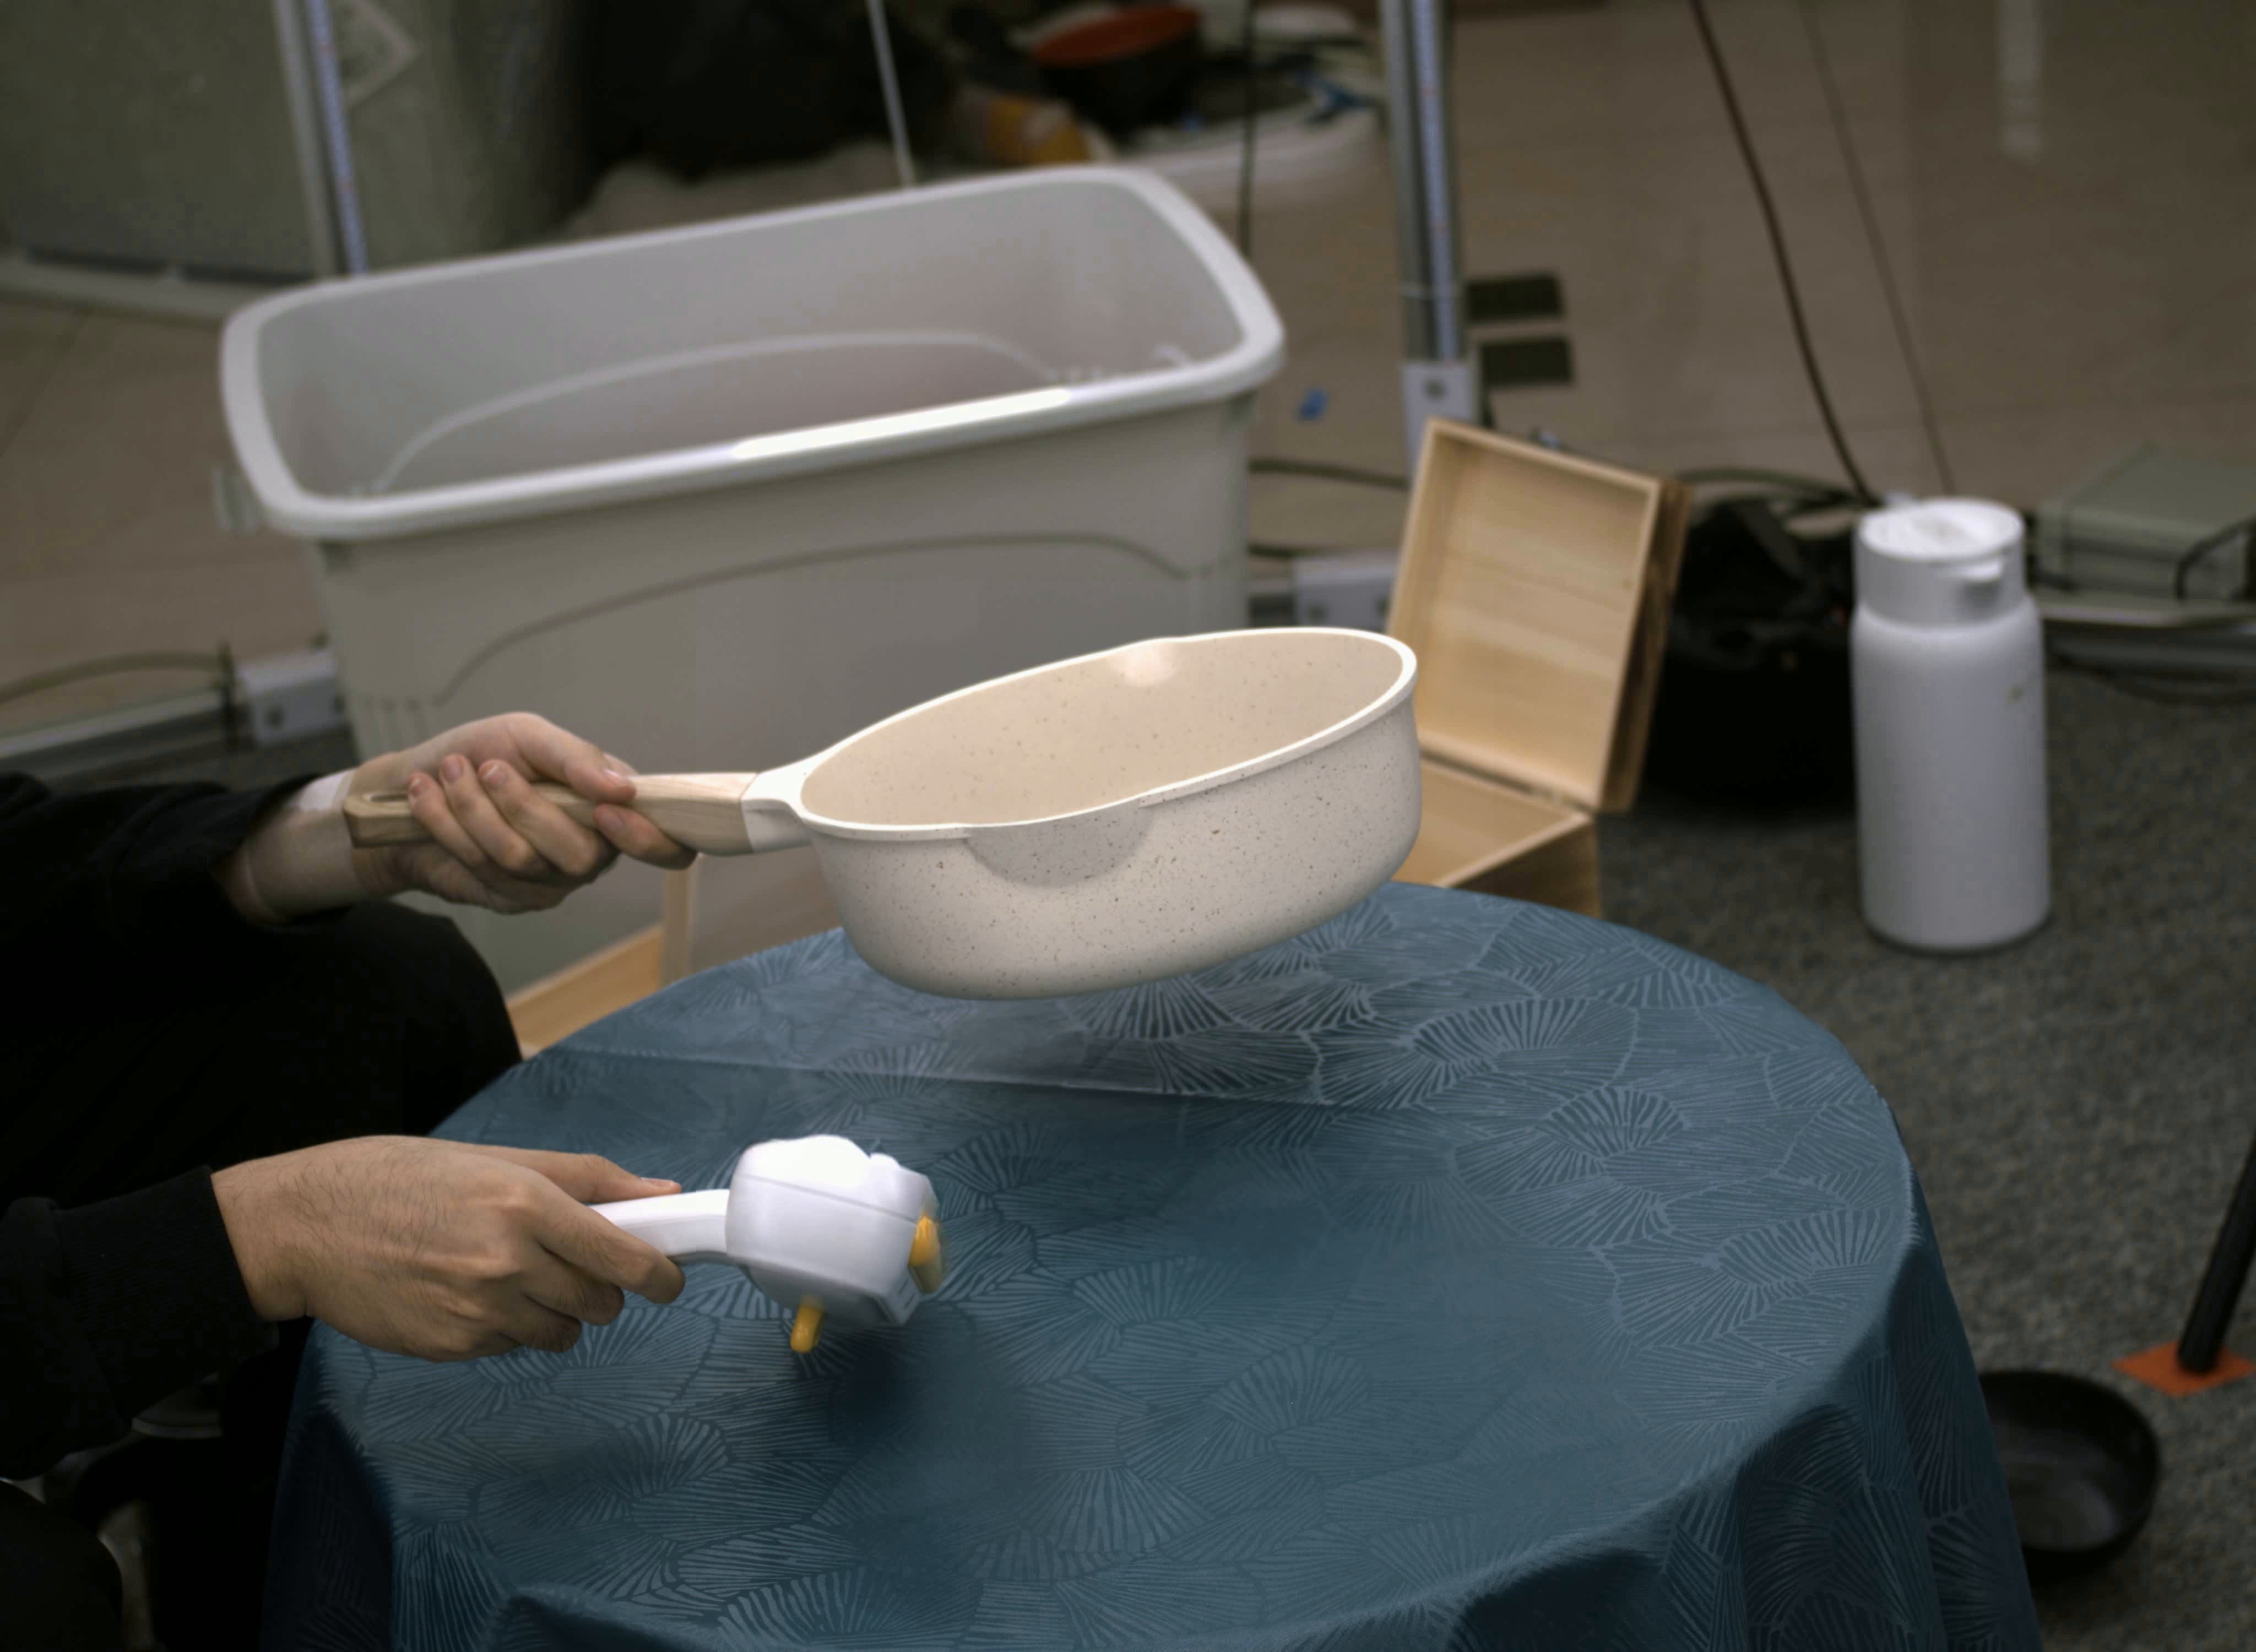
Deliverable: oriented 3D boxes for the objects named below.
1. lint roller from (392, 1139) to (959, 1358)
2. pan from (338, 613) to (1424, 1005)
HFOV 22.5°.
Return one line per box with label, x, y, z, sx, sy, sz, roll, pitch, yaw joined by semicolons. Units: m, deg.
lint roller;-0.162;0.145;1.988;0.192;0.074;0.193;5;-4;5
pan;-0.093;0.005;2.226;0.434;0.103;0.260;-10;17;11
